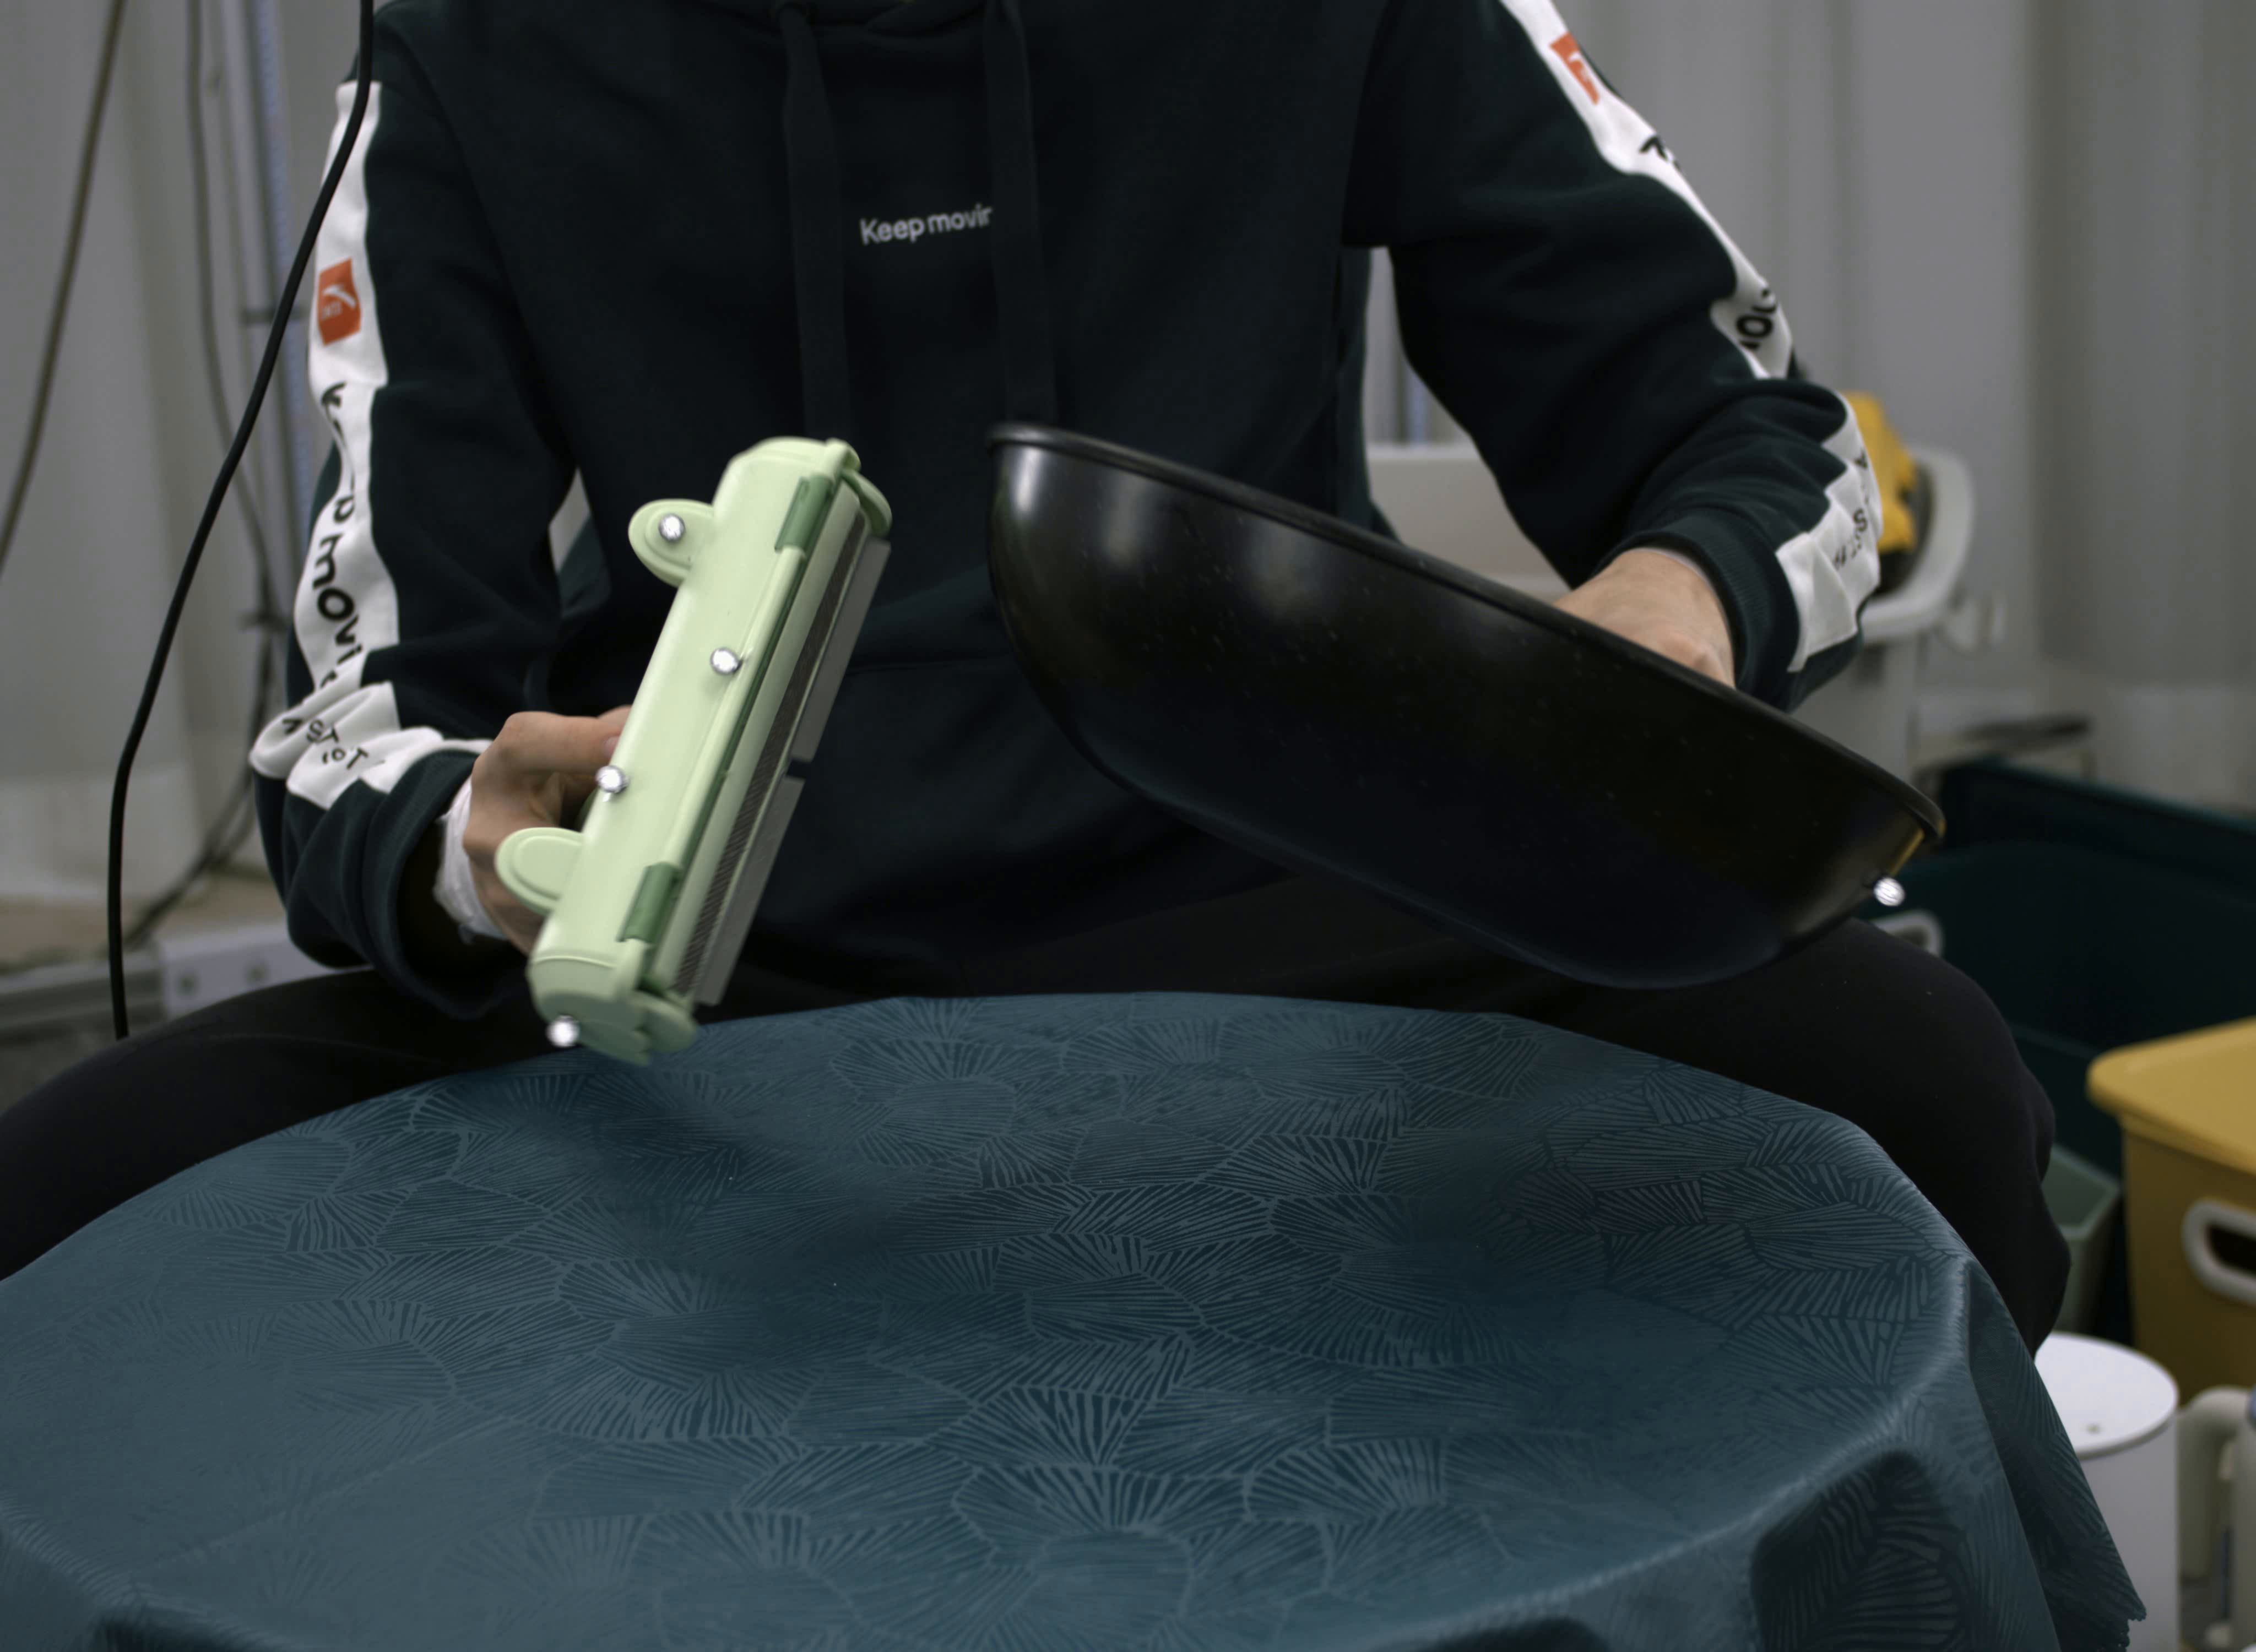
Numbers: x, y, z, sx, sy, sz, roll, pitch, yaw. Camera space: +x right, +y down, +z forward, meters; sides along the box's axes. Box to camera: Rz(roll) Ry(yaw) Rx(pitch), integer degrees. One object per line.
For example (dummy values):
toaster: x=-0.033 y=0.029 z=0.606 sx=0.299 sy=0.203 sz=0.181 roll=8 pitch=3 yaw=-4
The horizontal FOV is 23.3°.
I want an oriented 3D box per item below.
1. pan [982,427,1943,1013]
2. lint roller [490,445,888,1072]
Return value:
pan: x=0.108 y=-0.017 z=1.705 sx=0.311 sy=0.112 sz=0.474 roll=23 pitch=-1 yaw=16
lint roller: x=-0.160 y=-0.015 z=1.711 sx=0.081 sy=0.200 sz=0.183 roll=30 pitch=-25 yaw=-21
